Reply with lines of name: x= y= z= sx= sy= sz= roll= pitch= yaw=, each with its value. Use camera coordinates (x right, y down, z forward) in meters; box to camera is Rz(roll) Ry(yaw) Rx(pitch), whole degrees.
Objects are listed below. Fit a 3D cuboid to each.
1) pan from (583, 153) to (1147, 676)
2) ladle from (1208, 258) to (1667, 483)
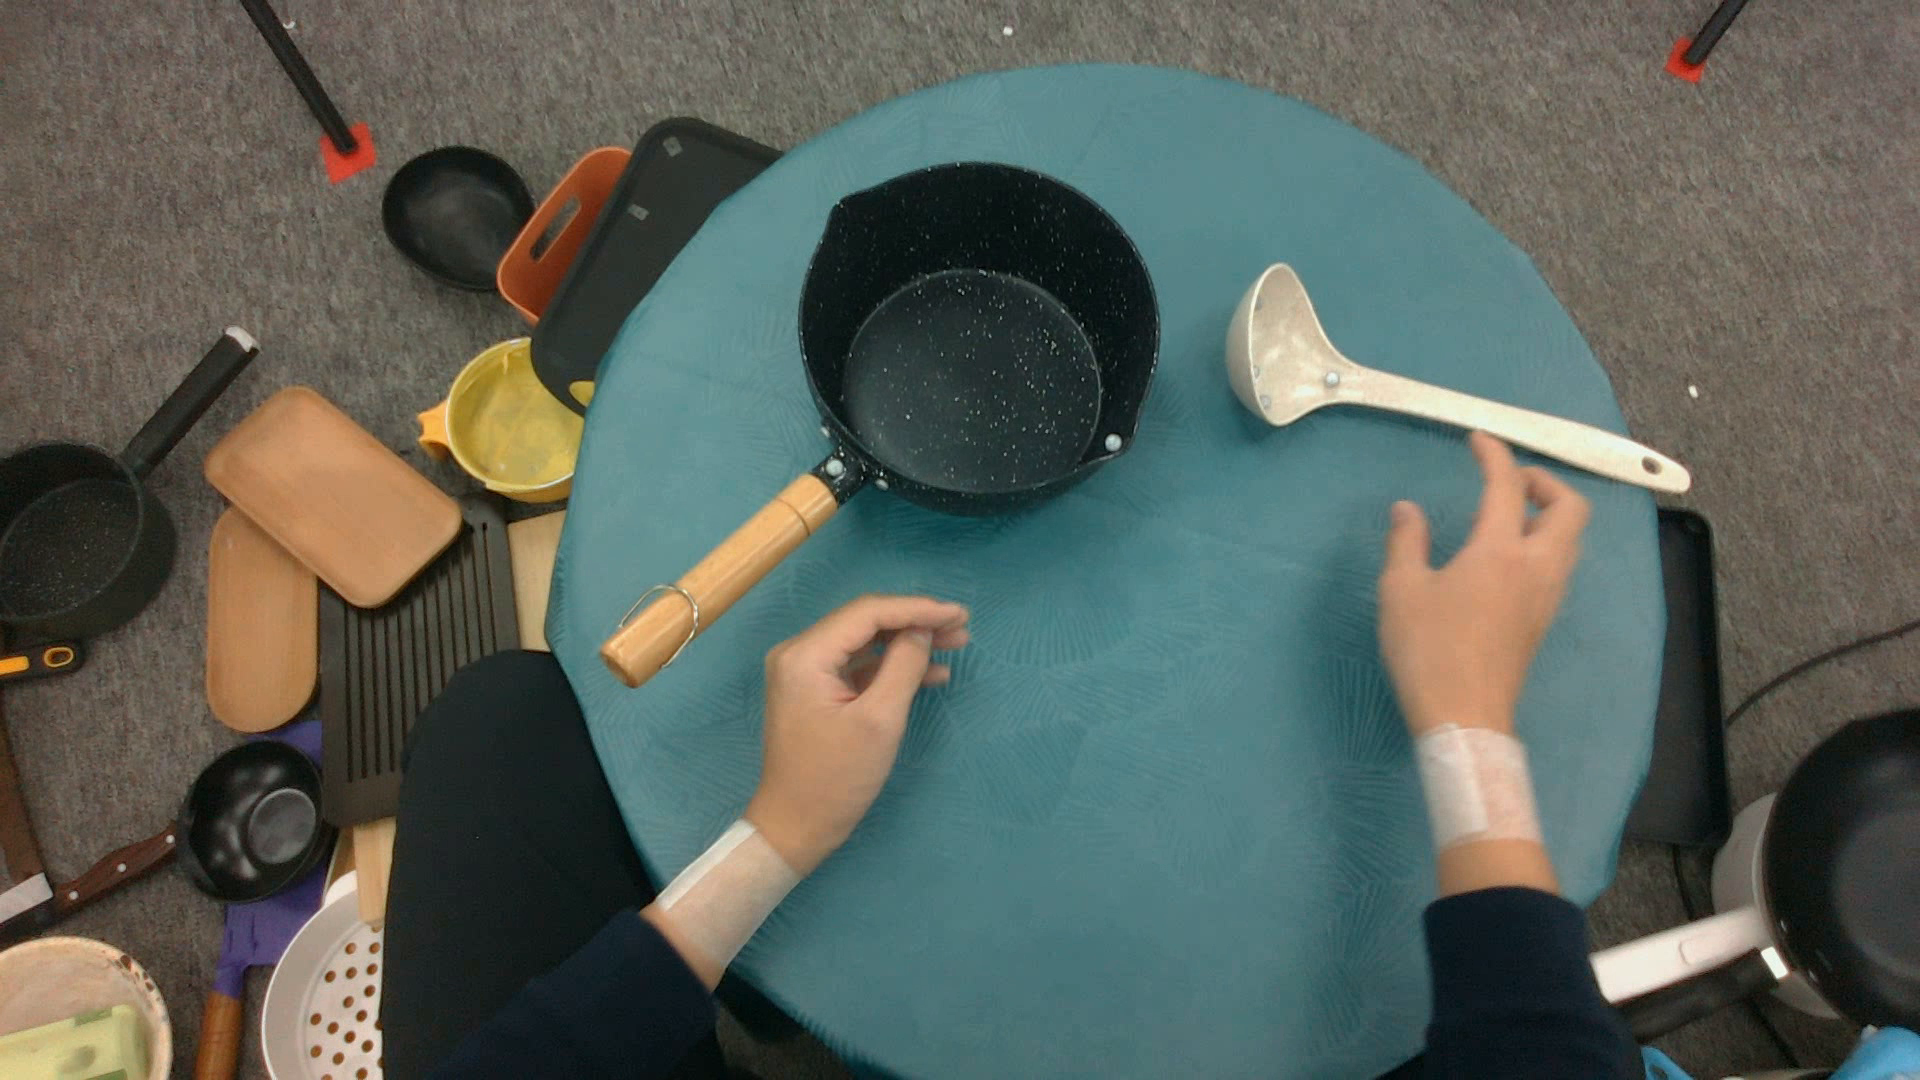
pan: x=-0.050 y=-0.049 z=0.701 sx=0.207 sy=0.108 sz=0.344 roll=40 pitch=73 yaw=8
ladle: x=0.270 y=-0.084 z=0.753 sx=0.275 sy=0.069 sz=0.089 roll=14 pitch=65 yaw=1
